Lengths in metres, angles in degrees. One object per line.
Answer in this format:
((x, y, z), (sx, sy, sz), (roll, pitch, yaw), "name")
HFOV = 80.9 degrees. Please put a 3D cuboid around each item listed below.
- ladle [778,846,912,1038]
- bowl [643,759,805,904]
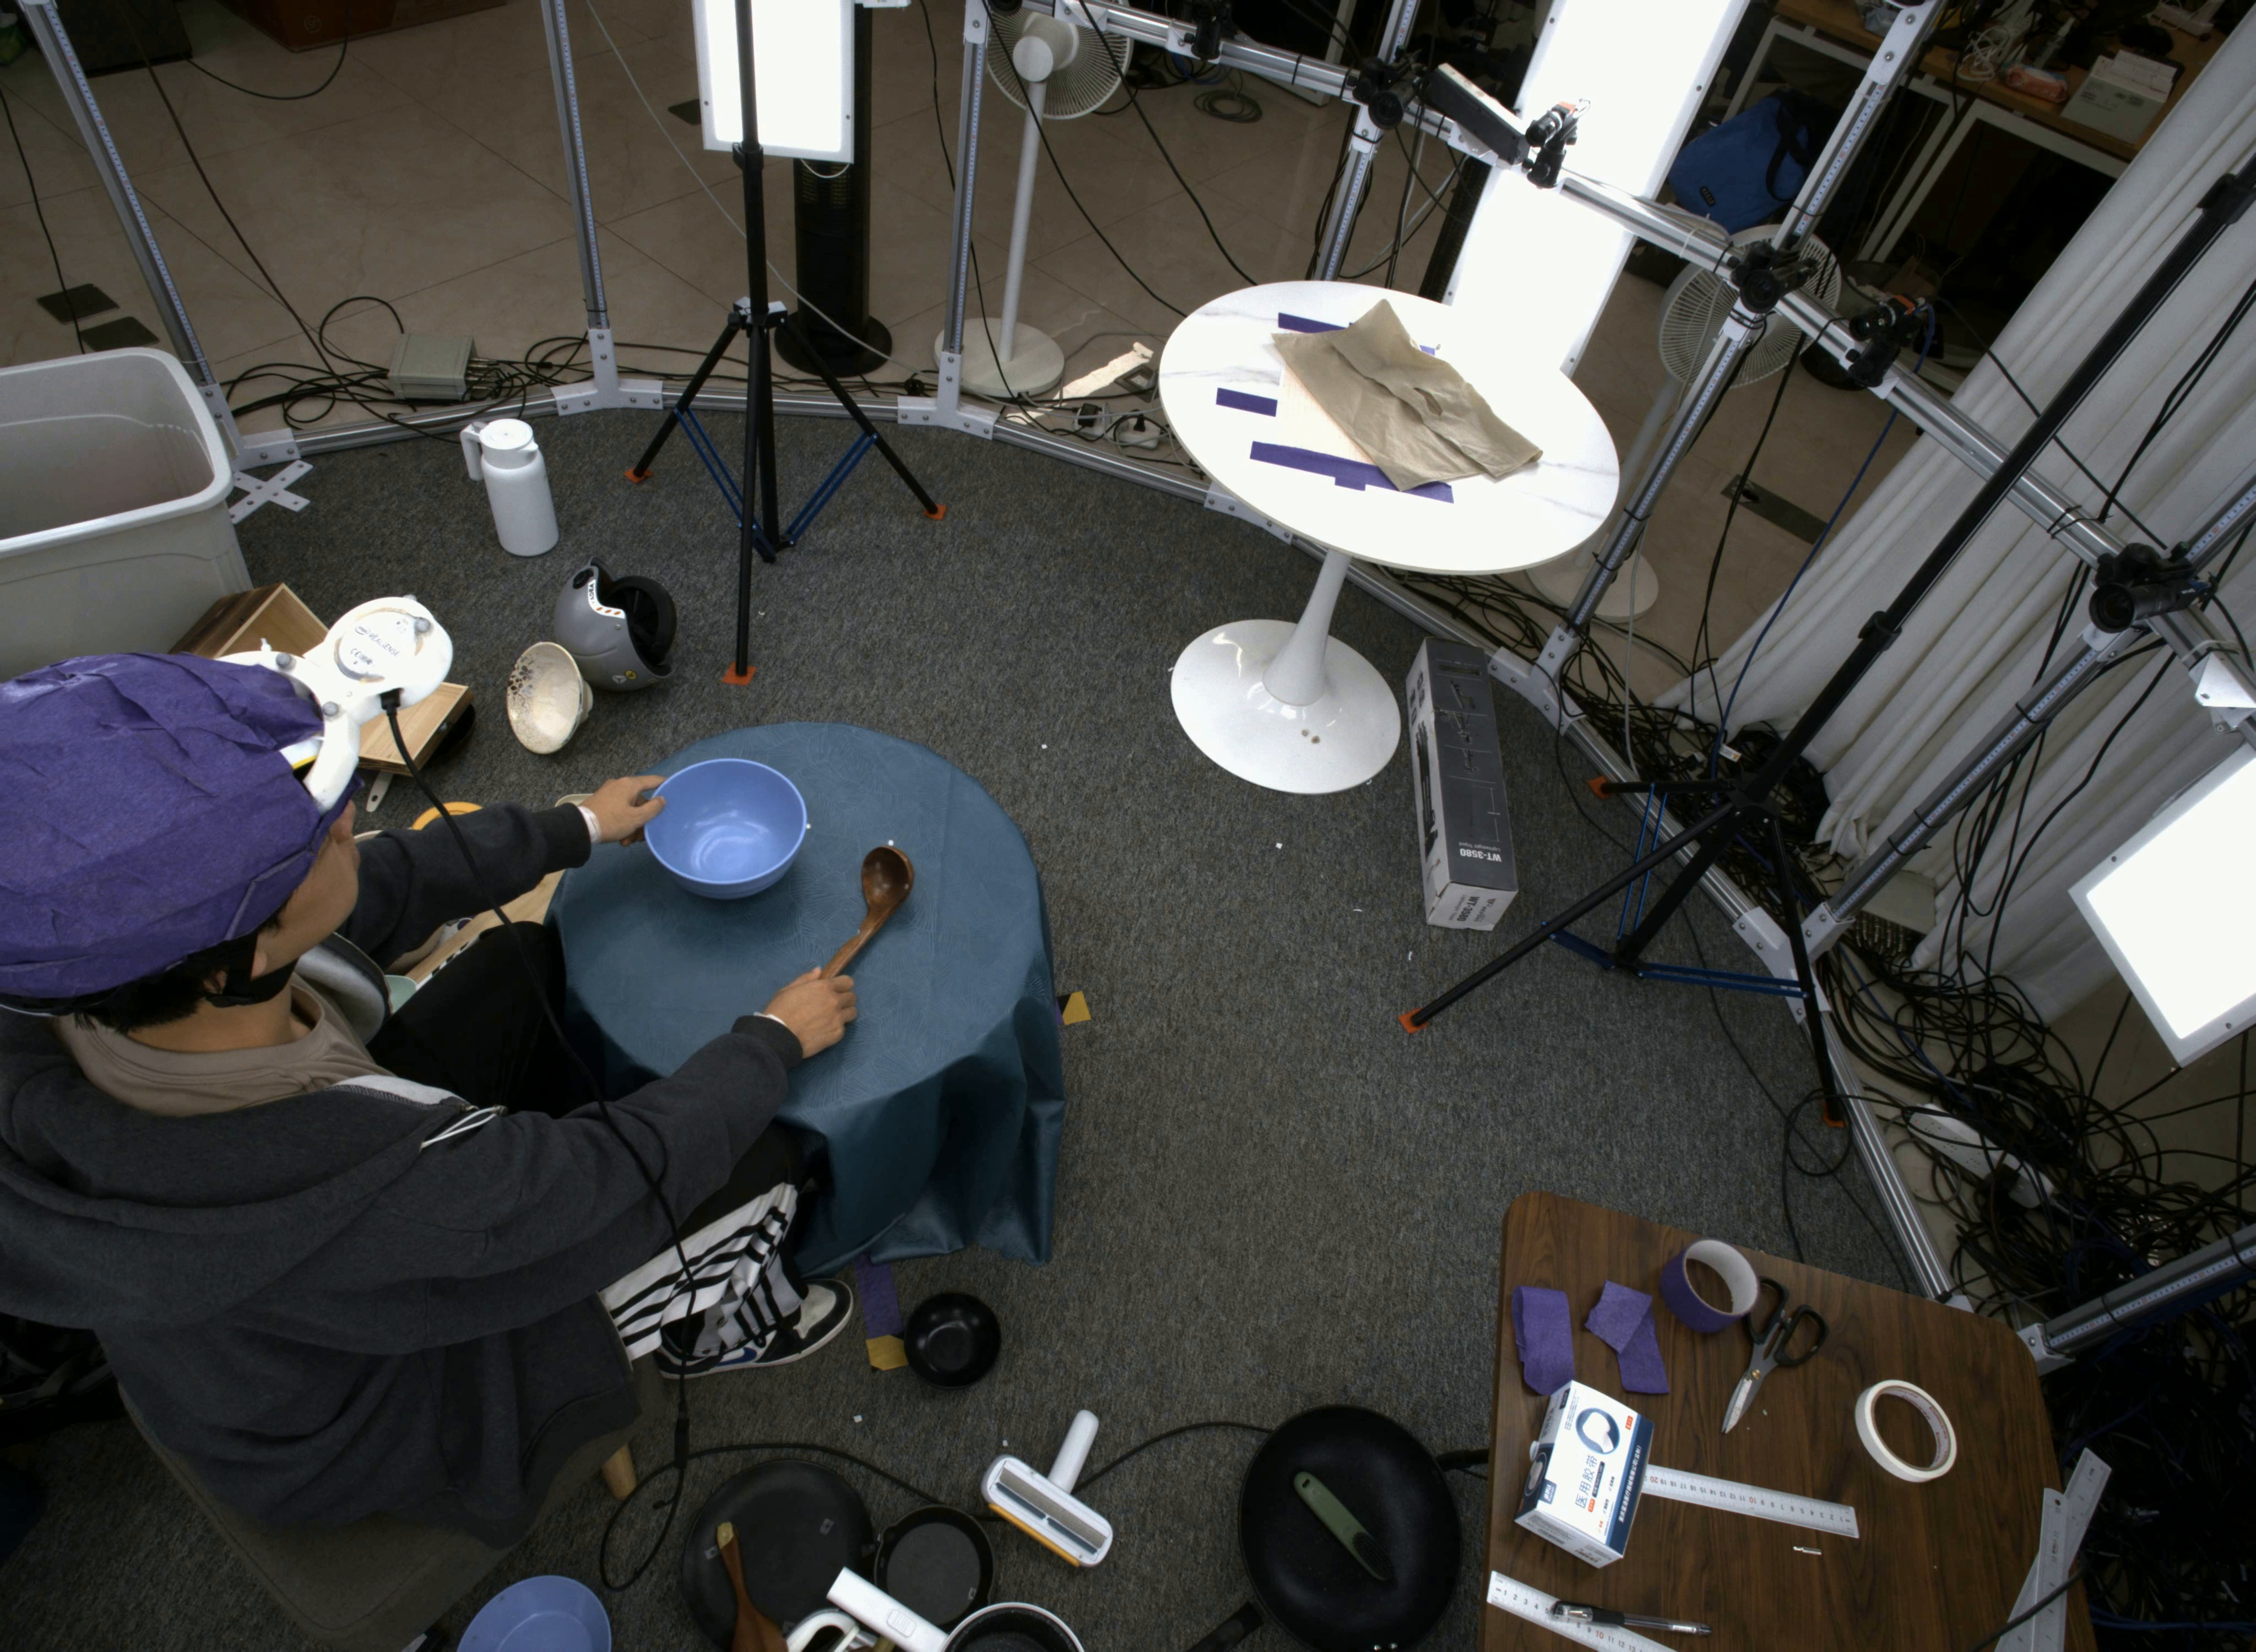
((-0.355, 0.133, 1.595), (0.079, 0.079, 0.273), (0, 40, 35), "ladle")
((-0.506, 0.021, 1.632), (0.196, 0.097, 0.193), (7, 53, -8), "bowl")
